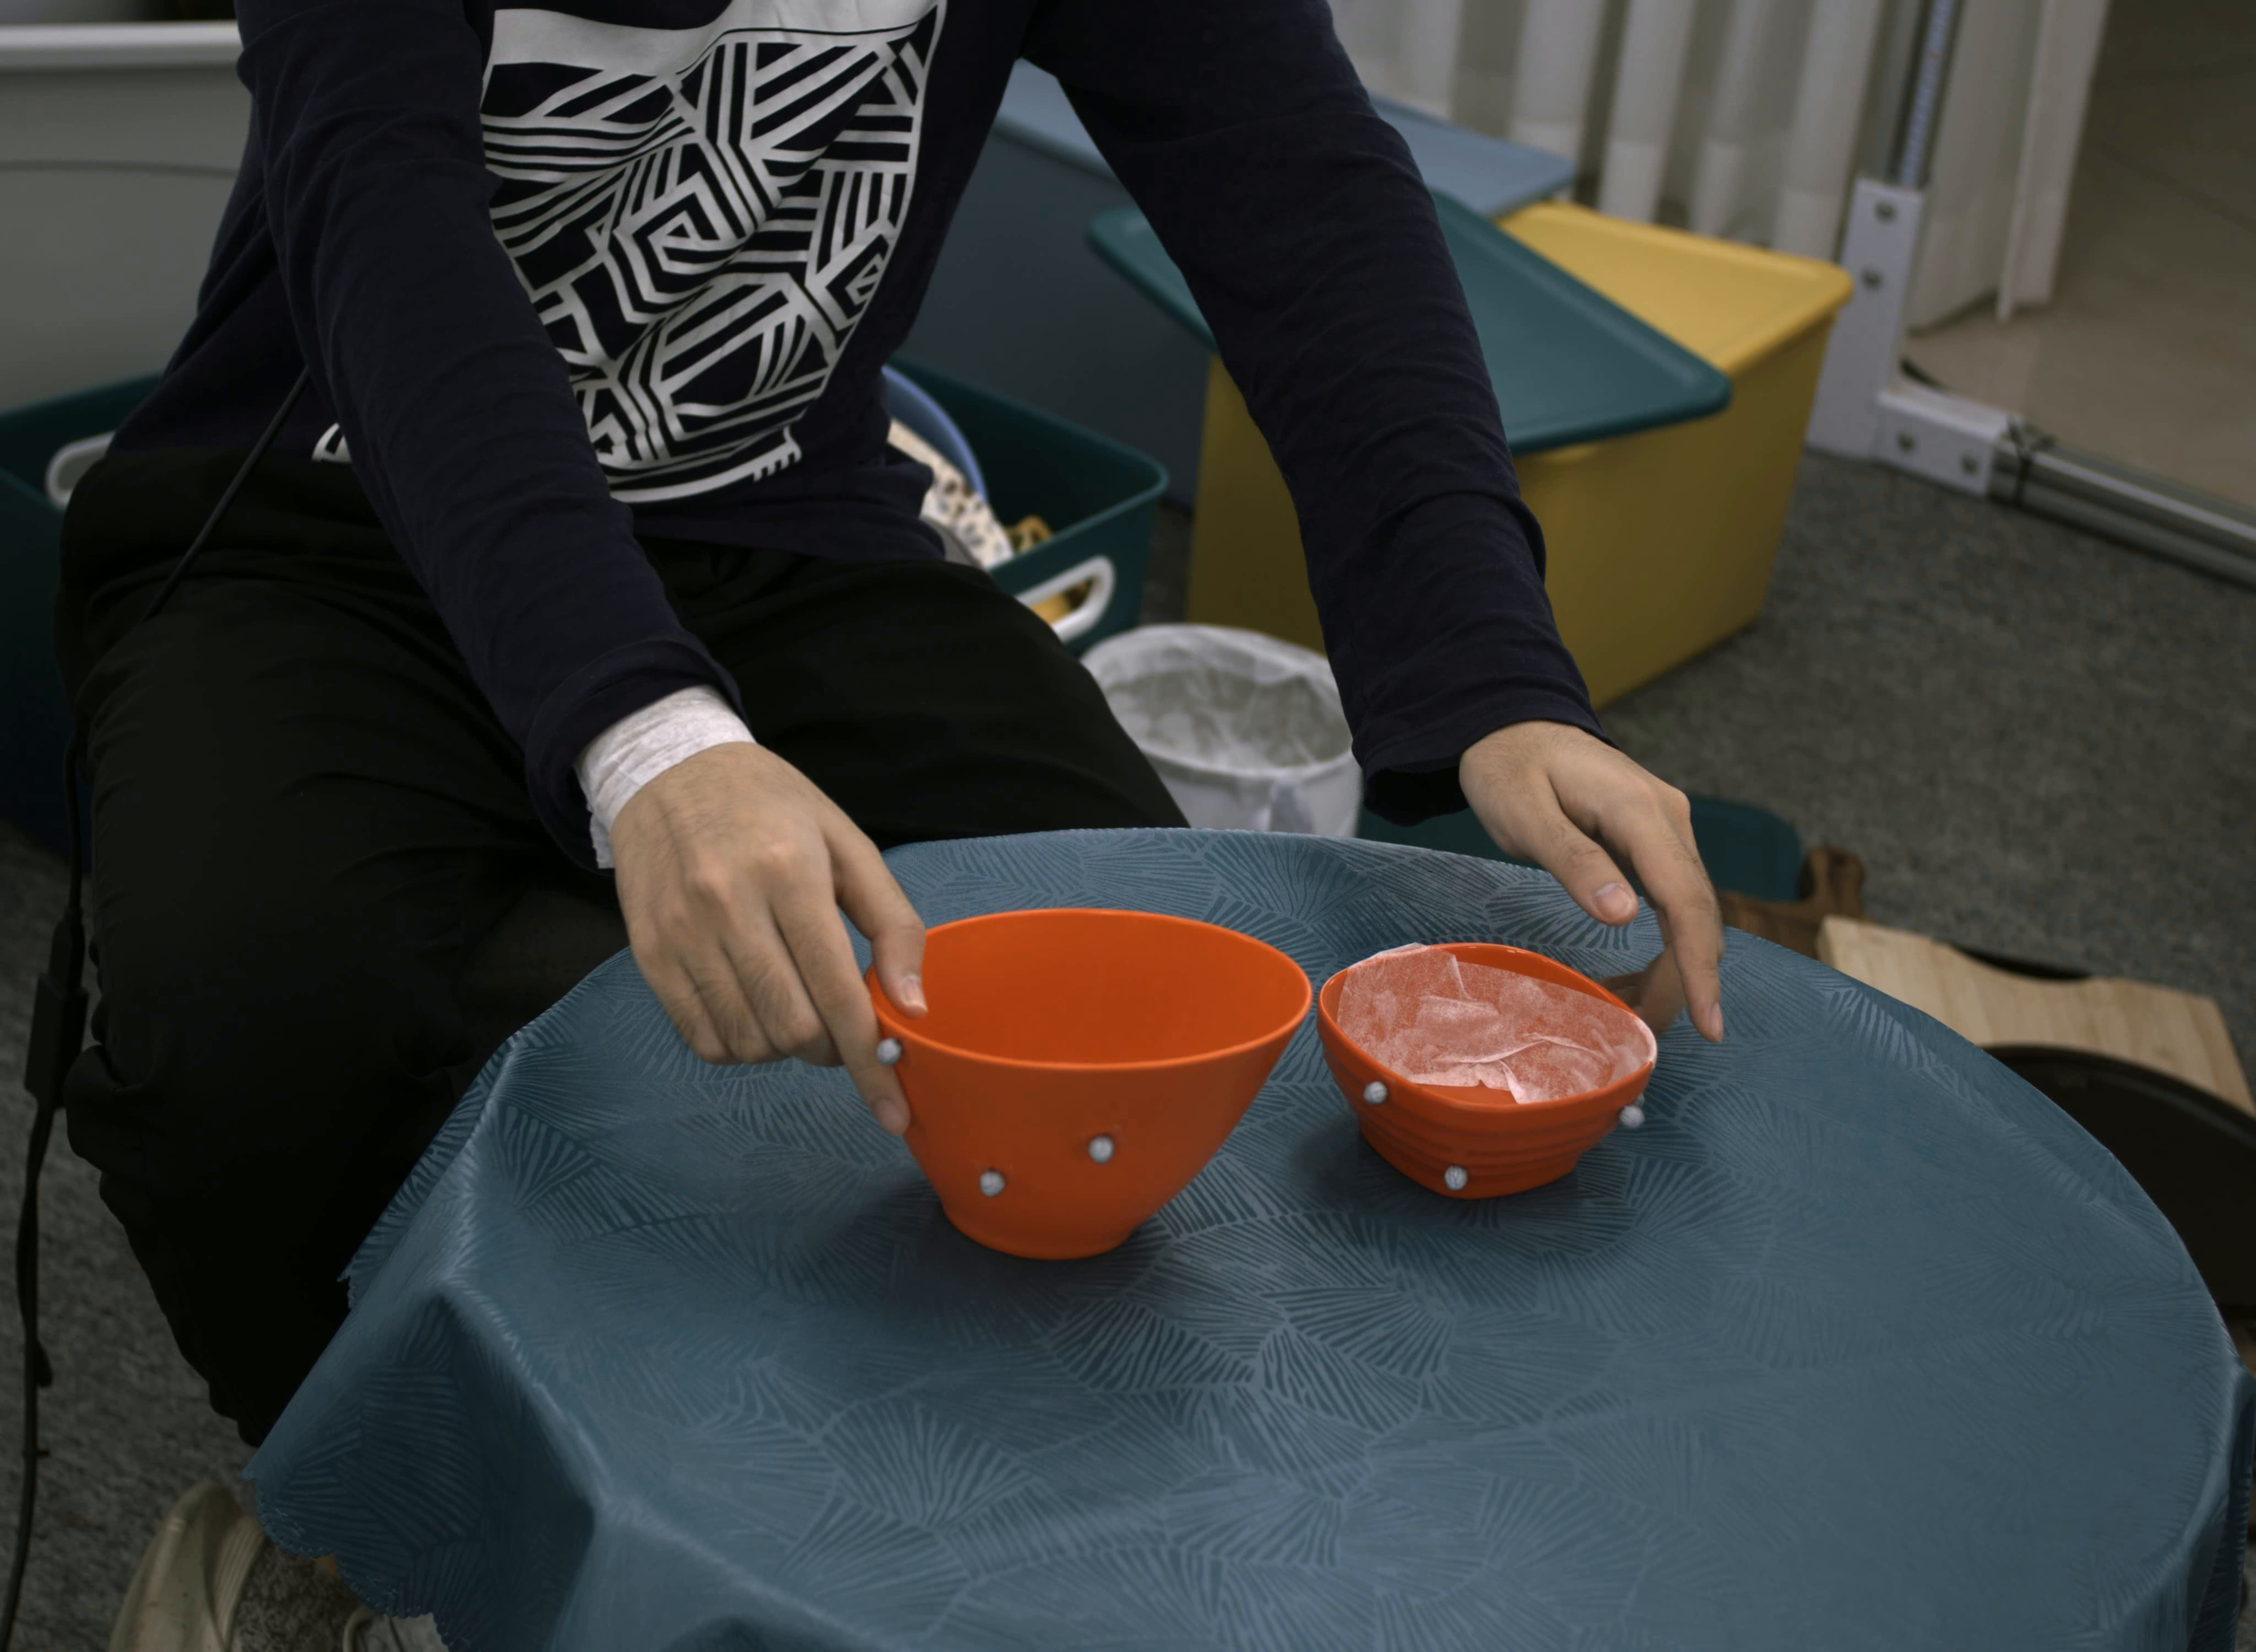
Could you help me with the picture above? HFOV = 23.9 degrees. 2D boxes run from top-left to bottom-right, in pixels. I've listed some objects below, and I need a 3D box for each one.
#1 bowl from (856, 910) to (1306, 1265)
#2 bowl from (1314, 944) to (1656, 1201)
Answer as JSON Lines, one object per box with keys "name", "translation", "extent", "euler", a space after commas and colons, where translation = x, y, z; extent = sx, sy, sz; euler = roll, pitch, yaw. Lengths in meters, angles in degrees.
{"name": "bowl", "translation": [-0.020, 0.090, 1.759], "extent": [0.147, 0.104, 0.149], "euler": [5, 26, -3]}
{"name": "bowl", "translation": [0.121, 0.089, 1.847], "extent": [0.118, 0.051, 0.119], "euler": [4, 26, -2]}
